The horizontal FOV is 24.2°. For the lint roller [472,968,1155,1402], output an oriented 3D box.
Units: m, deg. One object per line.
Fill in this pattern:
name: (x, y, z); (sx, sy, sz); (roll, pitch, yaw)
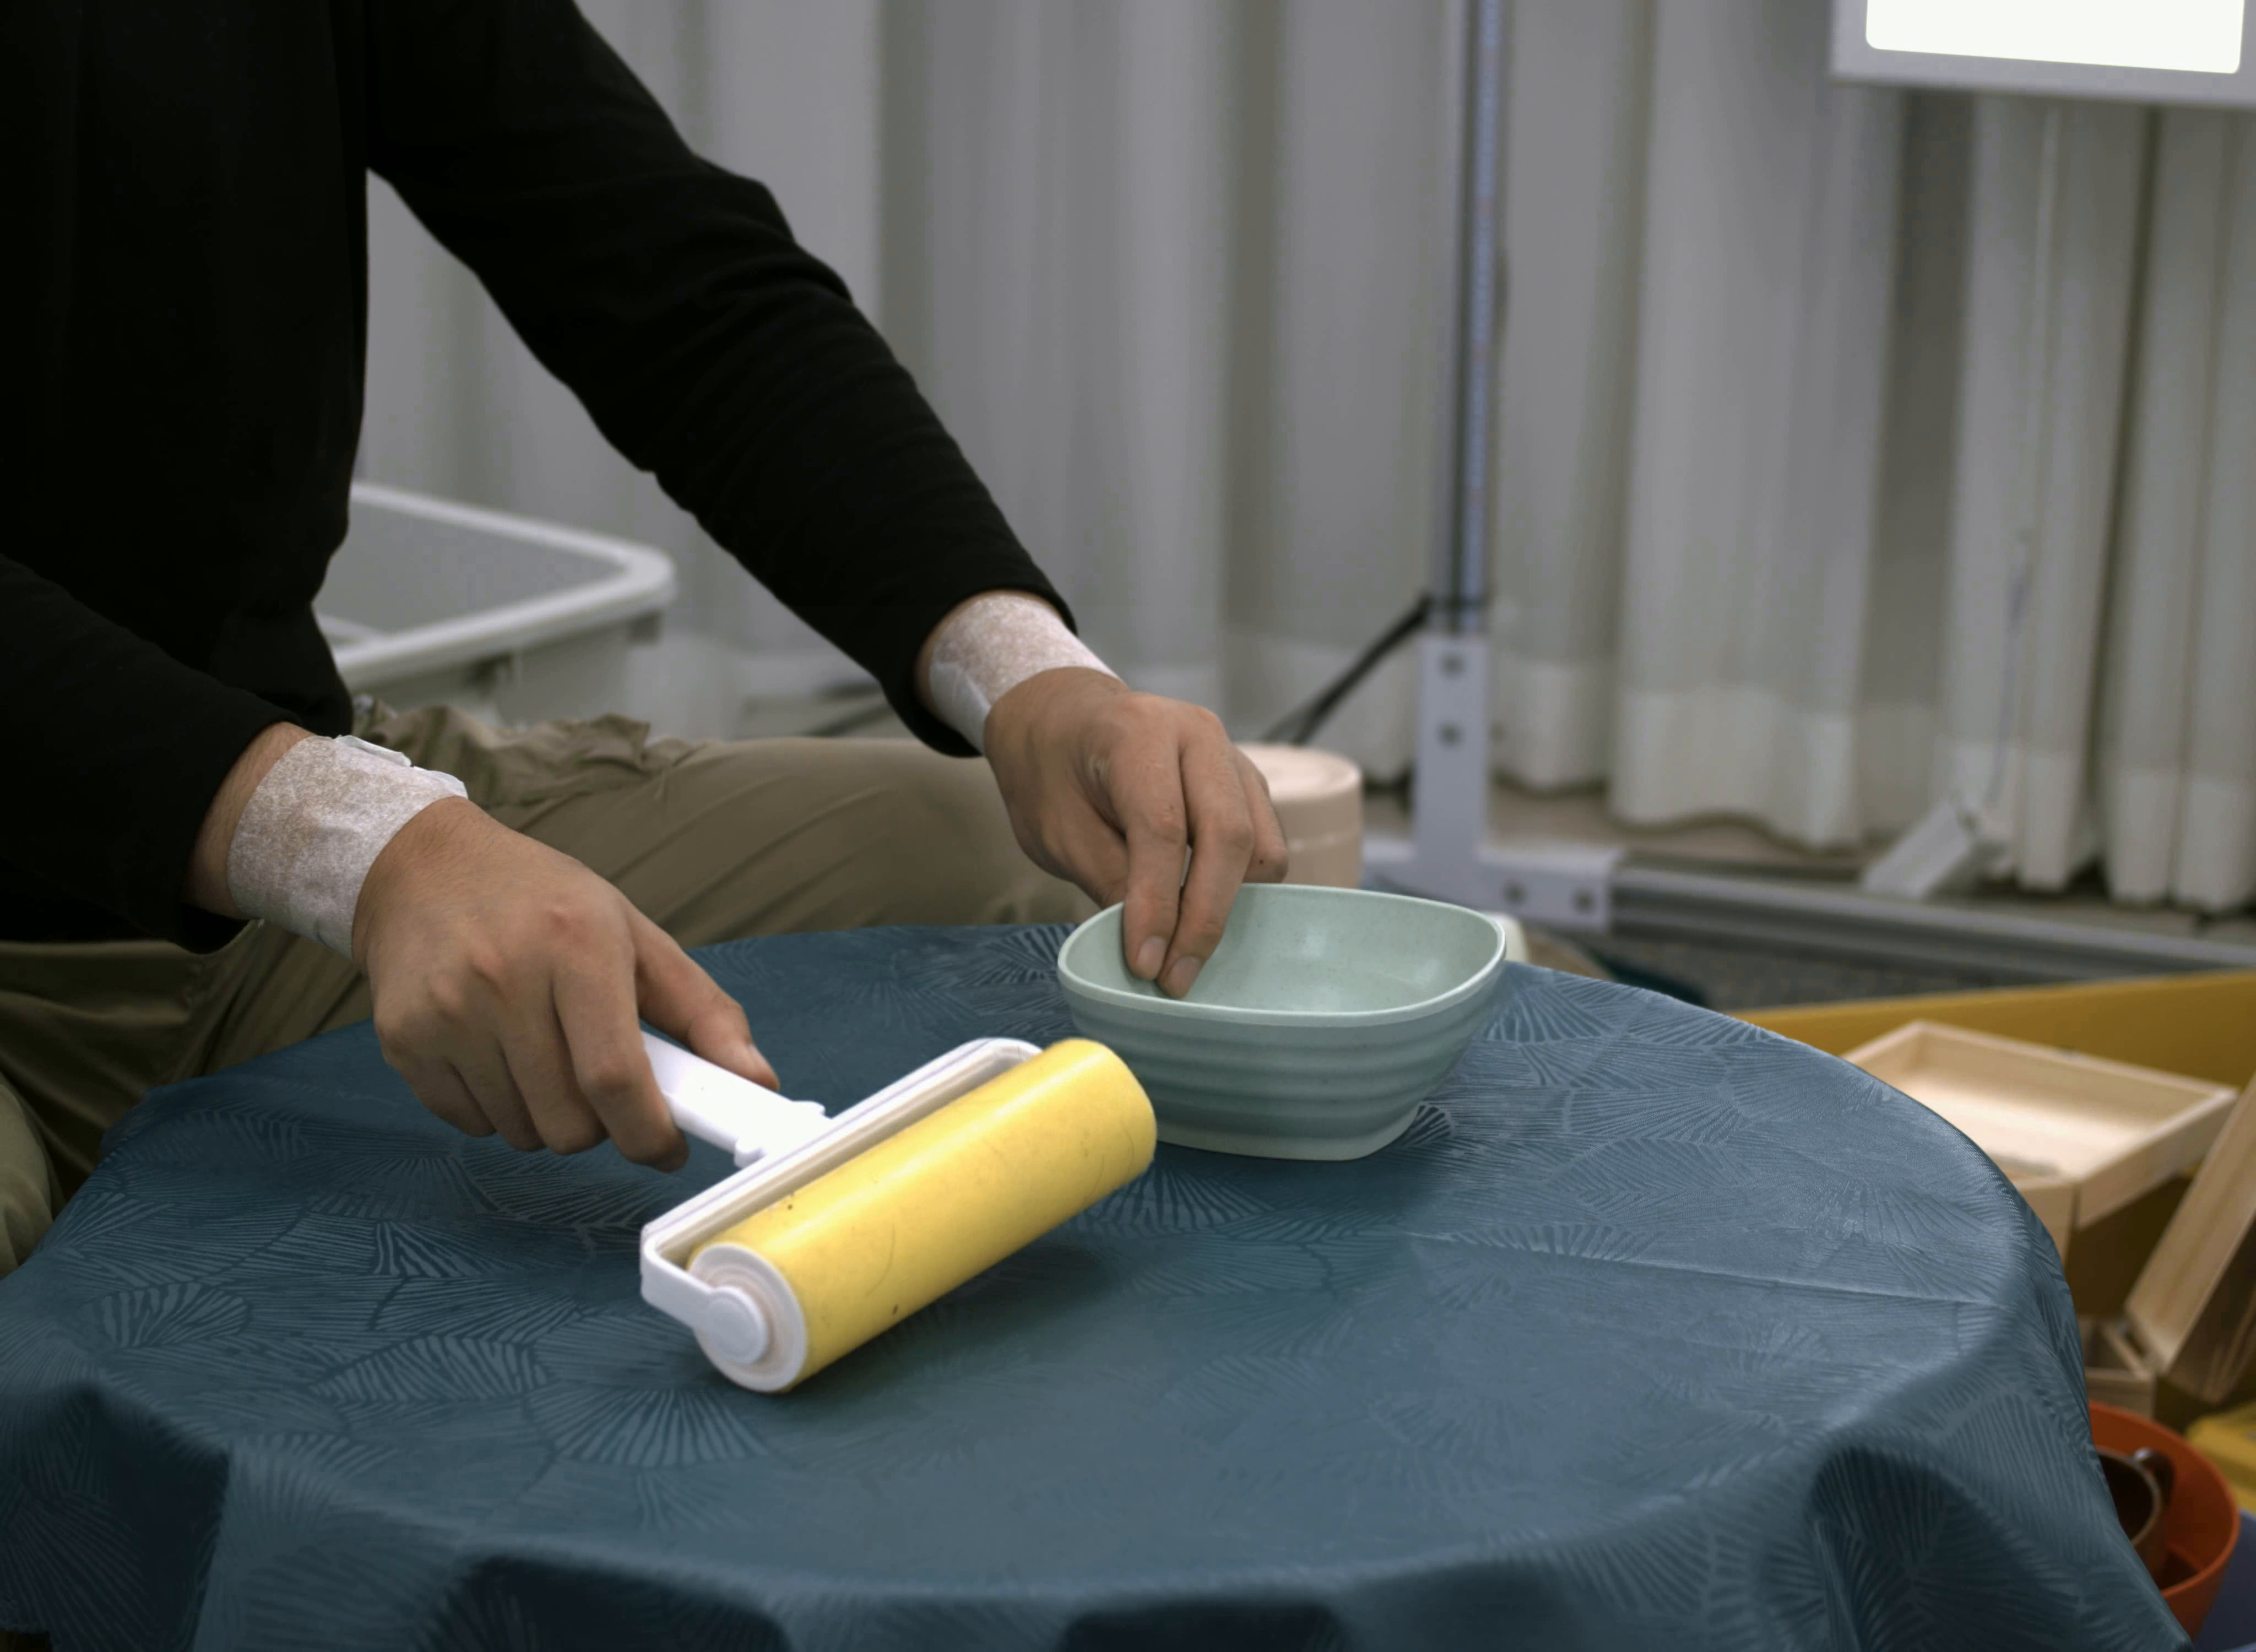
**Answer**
lint roller: (-0.114, 0.078, 1.534); (0.190, 0.052, 0.174); (33, 36, 22)

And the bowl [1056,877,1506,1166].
bowl: (0.049, 0.065, 1.684); (0.151, 0.059, 0.150); (2, 17, 0)
